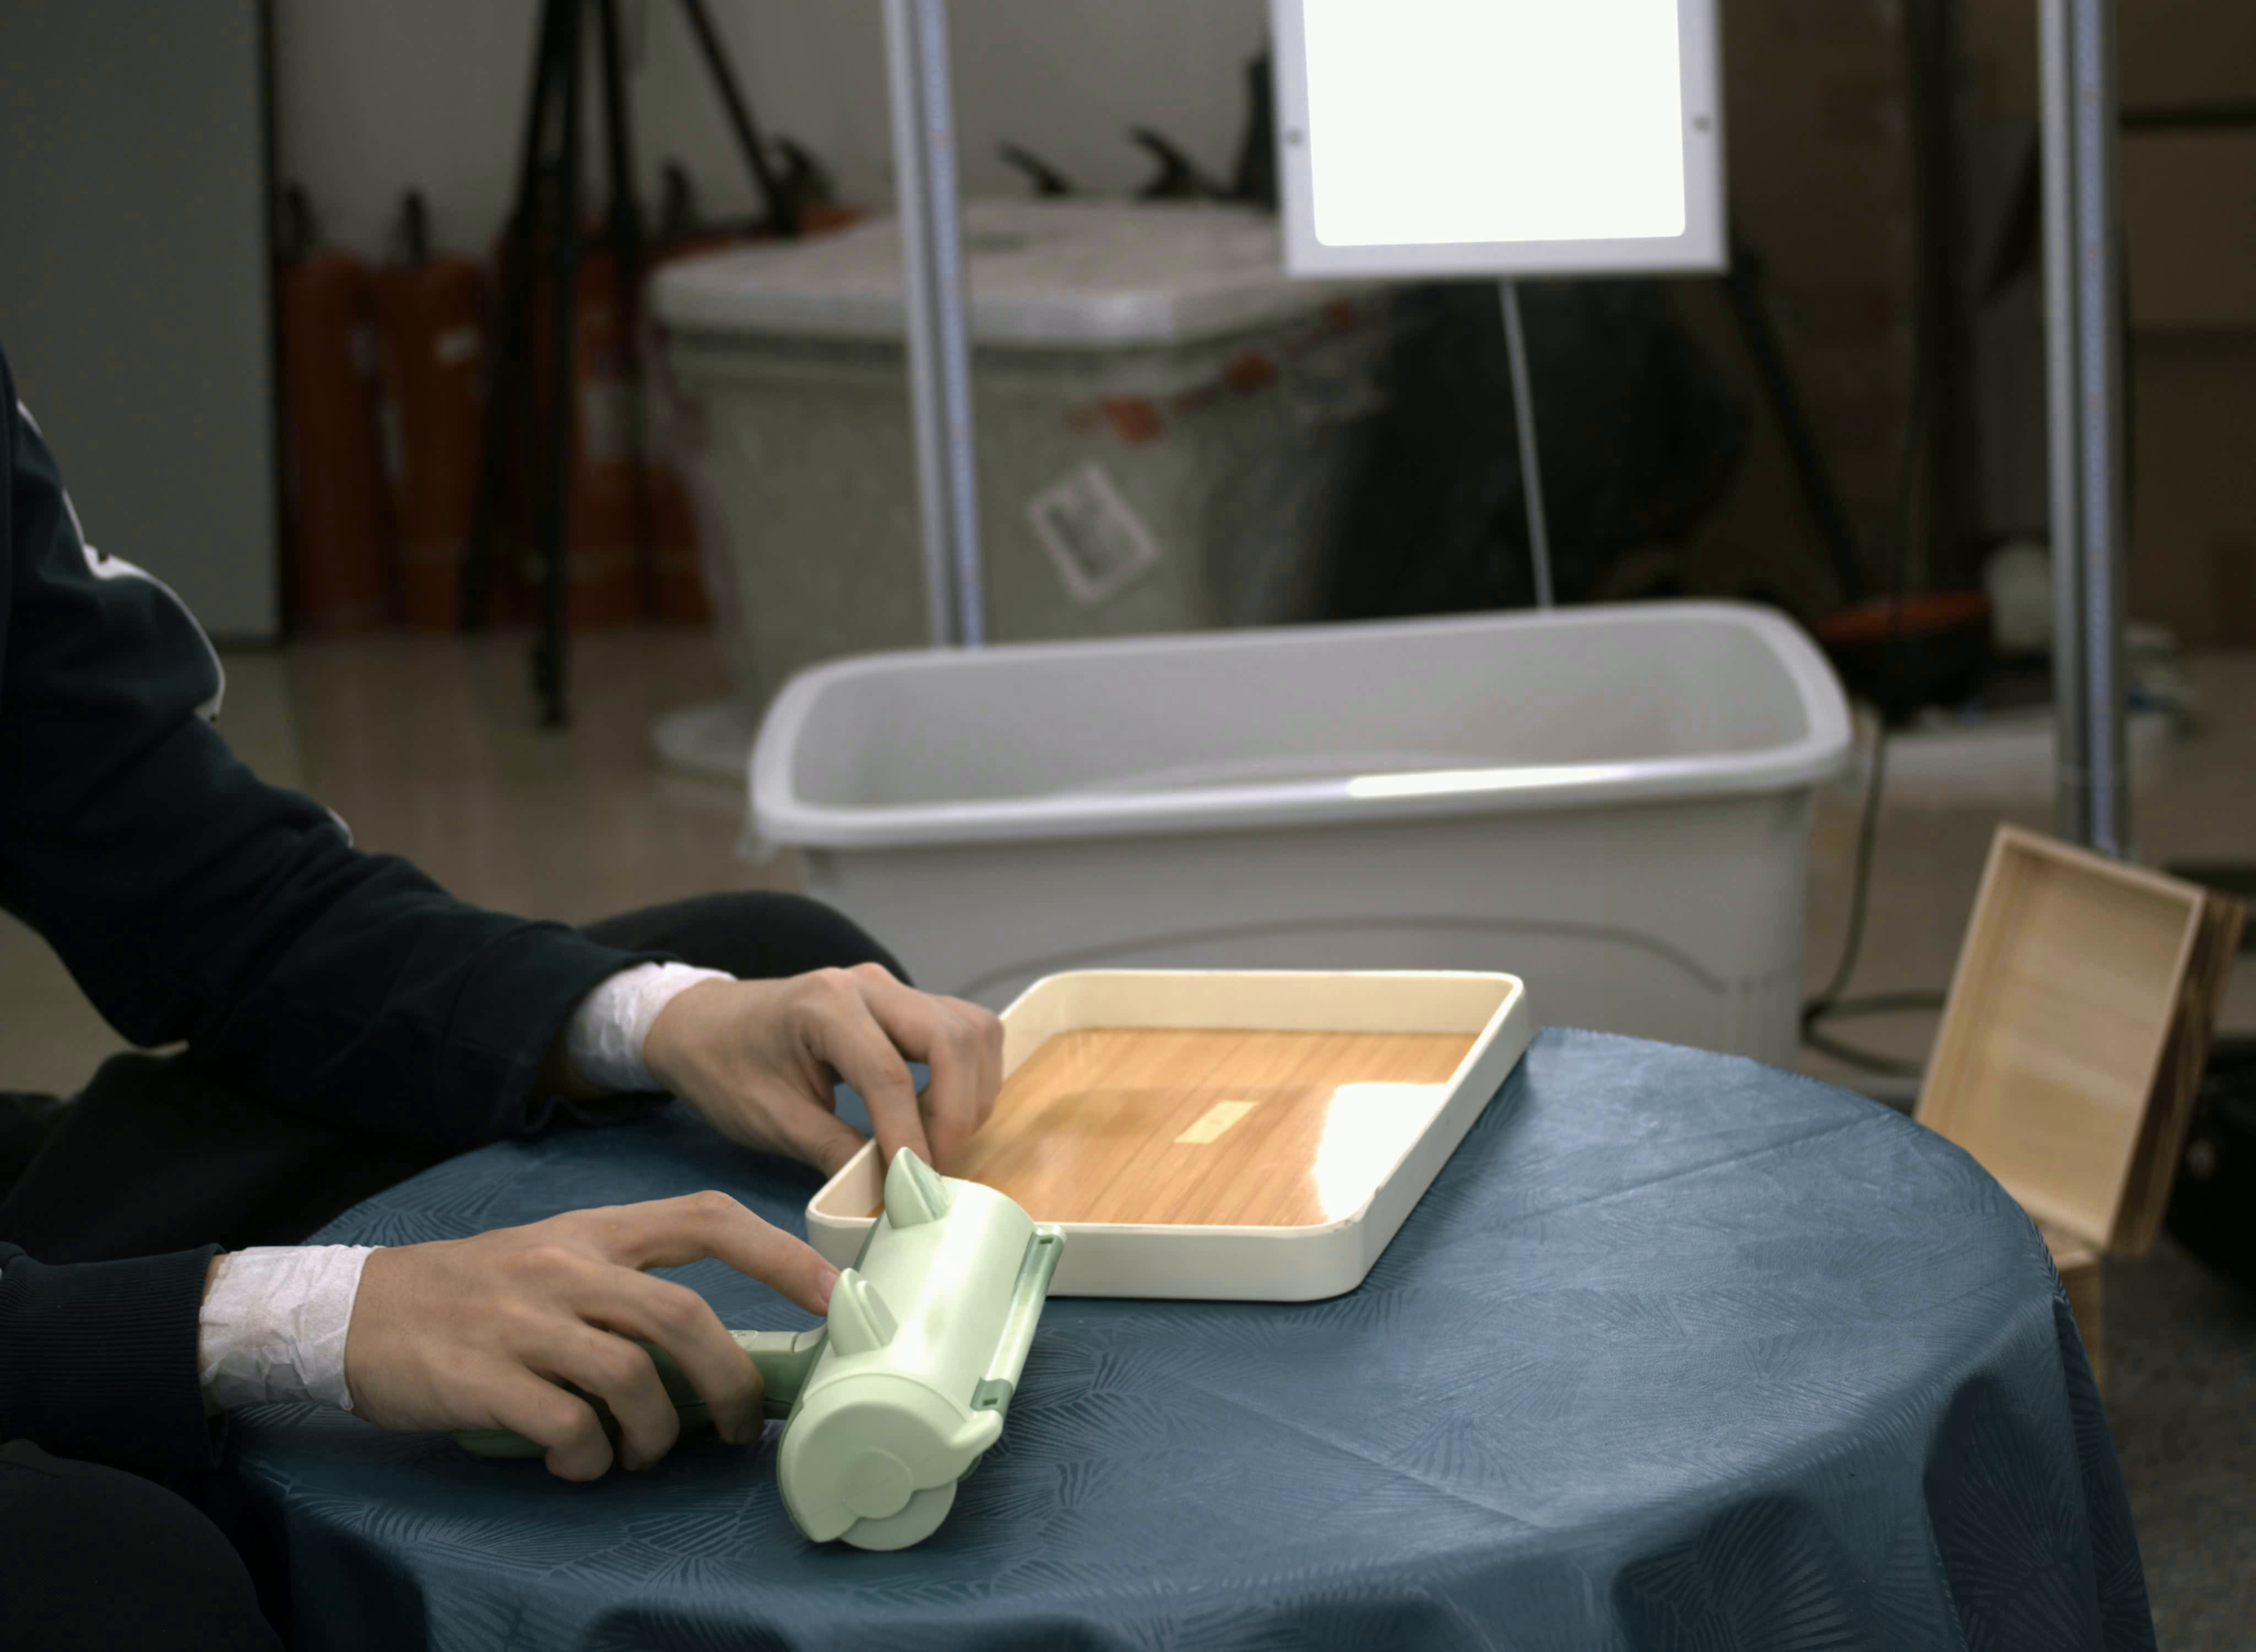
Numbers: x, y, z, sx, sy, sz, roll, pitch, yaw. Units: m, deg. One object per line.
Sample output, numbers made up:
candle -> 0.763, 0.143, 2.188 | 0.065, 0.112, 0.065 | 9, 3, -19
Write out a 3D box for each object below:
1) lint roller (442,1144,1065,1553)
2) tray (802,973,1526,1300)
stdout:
lint roller -> -0.119, 0.153, 1.672 | 0.184, 0.082, 0.197 | 1, 15, 7
tray -> 0.020, 0.105, 1.921 | 0.194, 0.027, 0.295 | -1, 14, 18
